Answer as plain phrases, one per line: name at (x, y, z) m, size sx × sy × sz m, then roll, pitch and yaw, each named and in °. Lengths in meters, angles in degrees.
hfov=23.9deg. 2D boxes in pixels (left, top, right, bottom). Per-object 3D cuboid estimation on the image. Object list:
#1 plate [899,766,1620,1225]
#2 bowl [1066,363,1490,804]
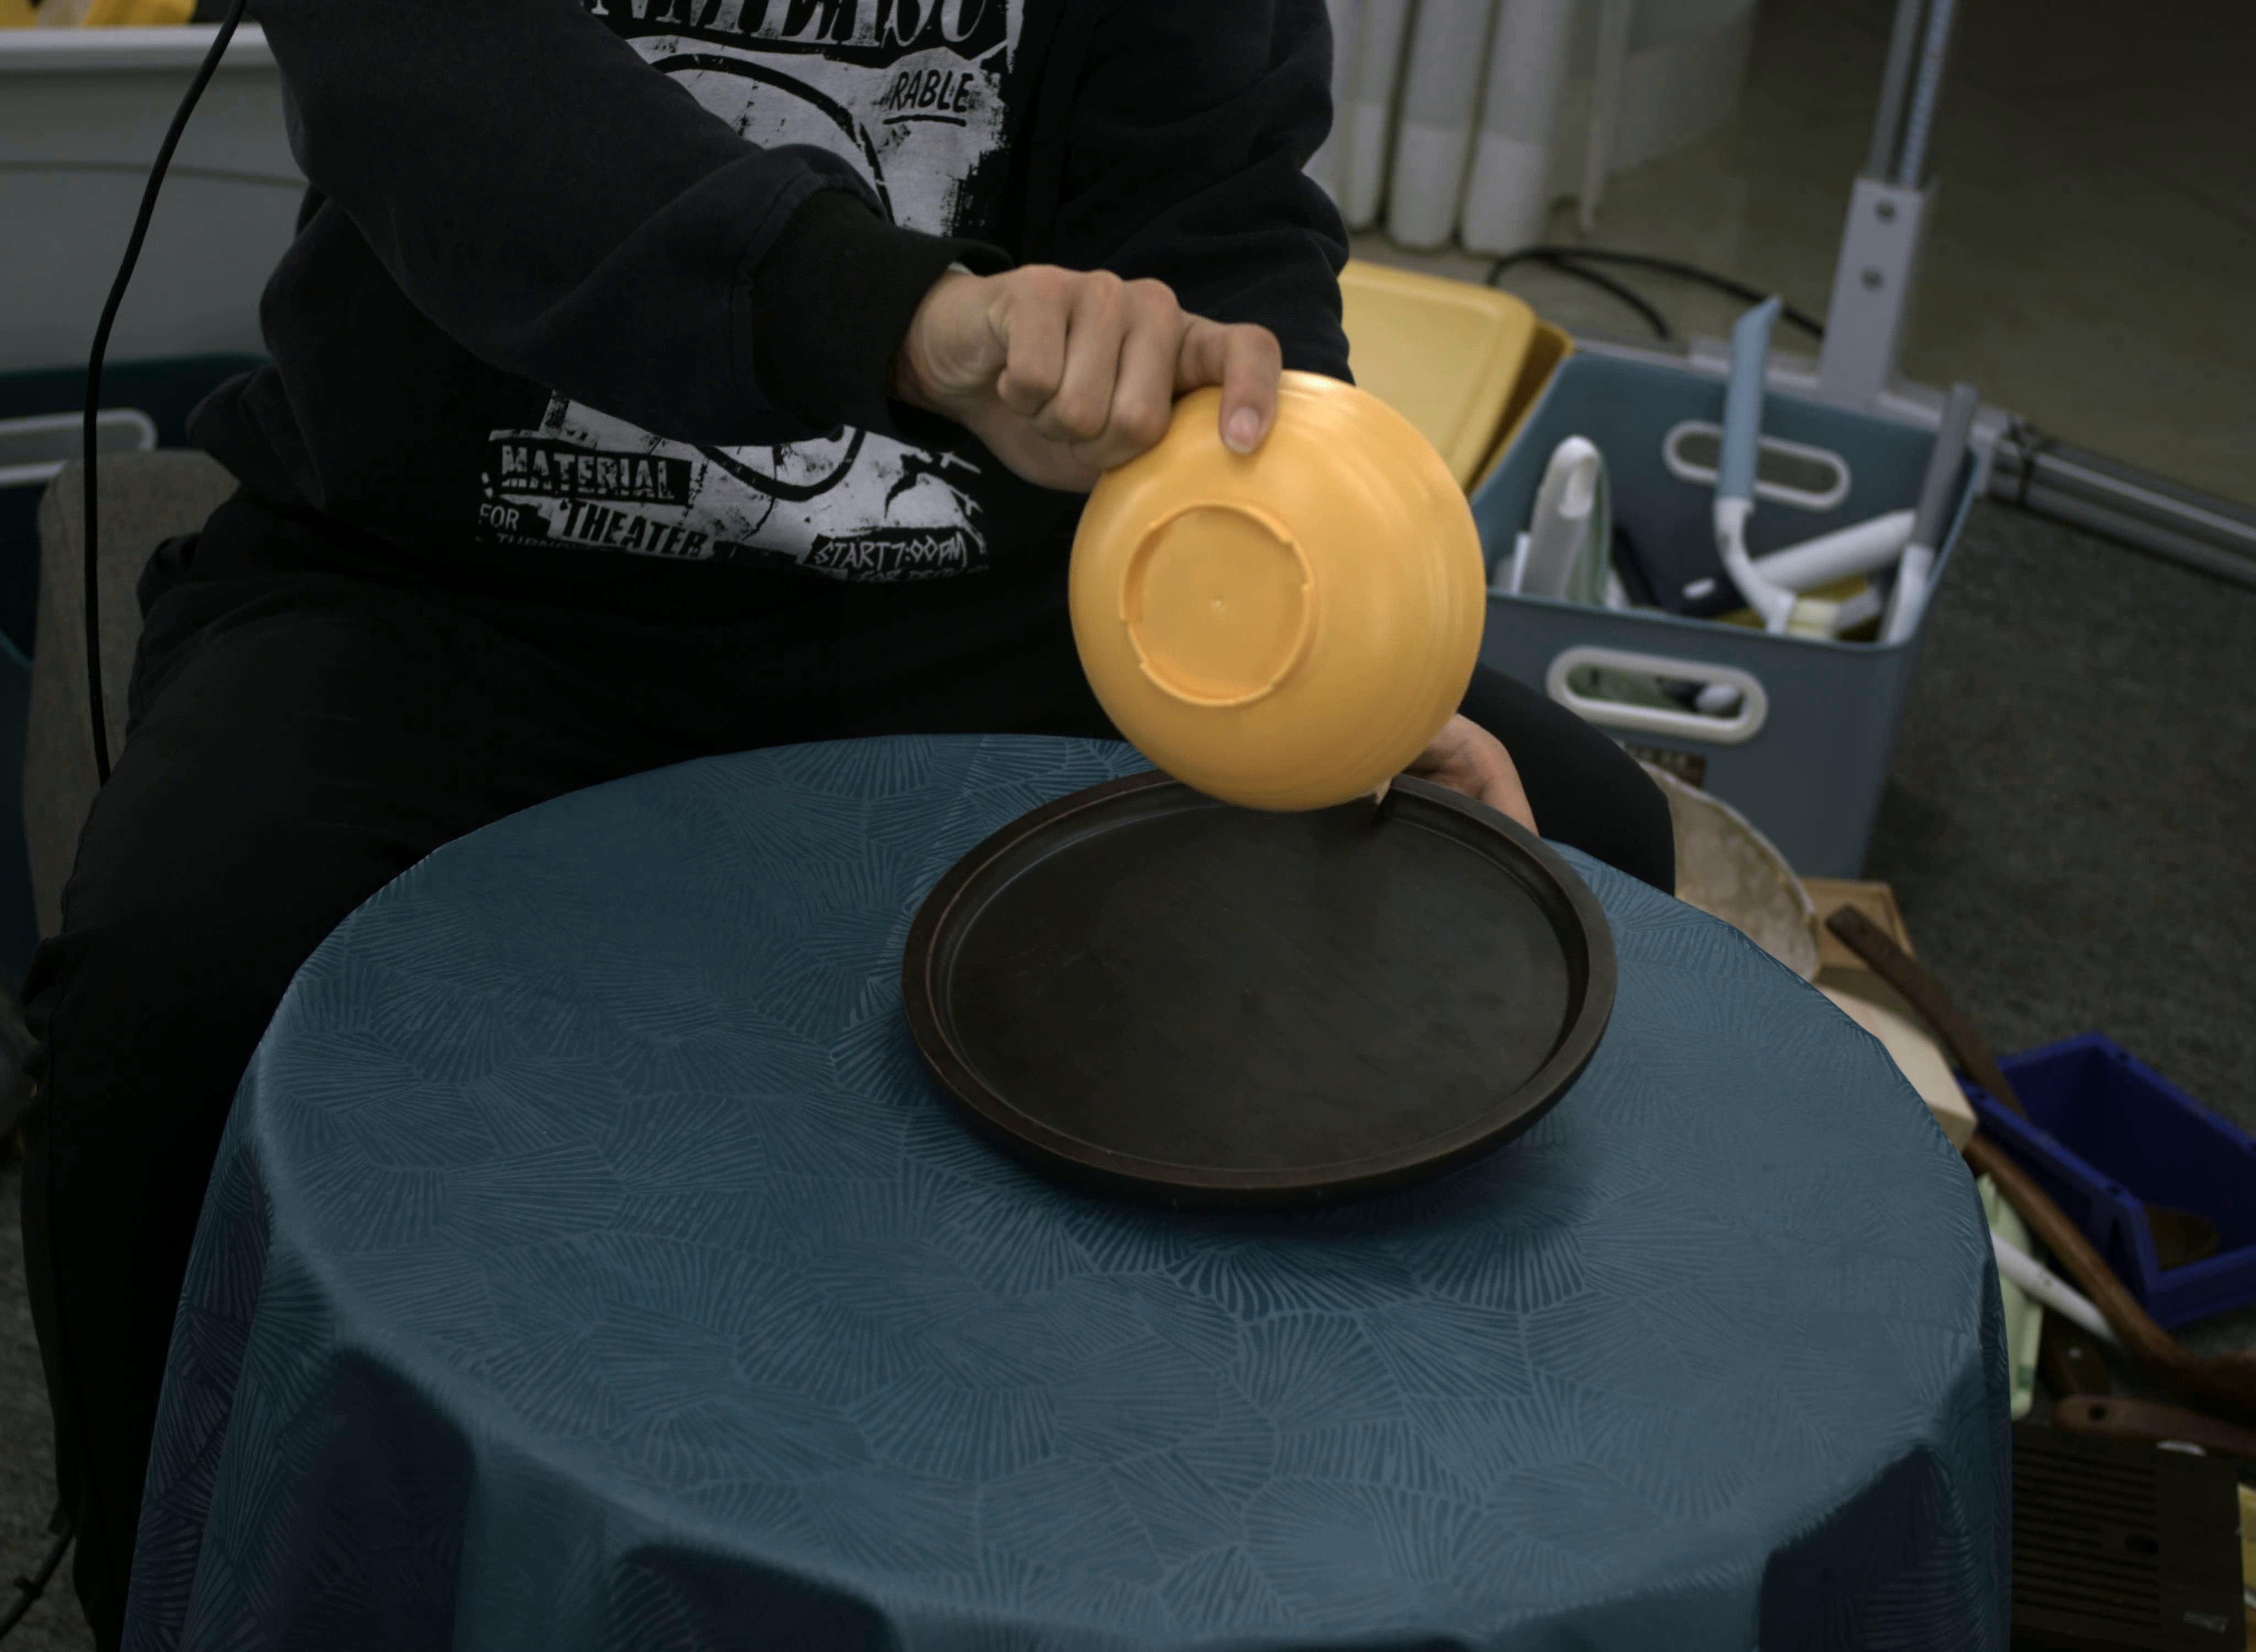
plate at (0.046, 0.056, 1.872) m, size 0.254 × 0.029 × 0.256 m, roll -4°, pitch 35°, yaw 2°
bowl at (0.039, -0.076, 1.709) m, size 0.146 × 0.145 × 0.060 m, roll 17°, pitch 11°, yaw 19°
